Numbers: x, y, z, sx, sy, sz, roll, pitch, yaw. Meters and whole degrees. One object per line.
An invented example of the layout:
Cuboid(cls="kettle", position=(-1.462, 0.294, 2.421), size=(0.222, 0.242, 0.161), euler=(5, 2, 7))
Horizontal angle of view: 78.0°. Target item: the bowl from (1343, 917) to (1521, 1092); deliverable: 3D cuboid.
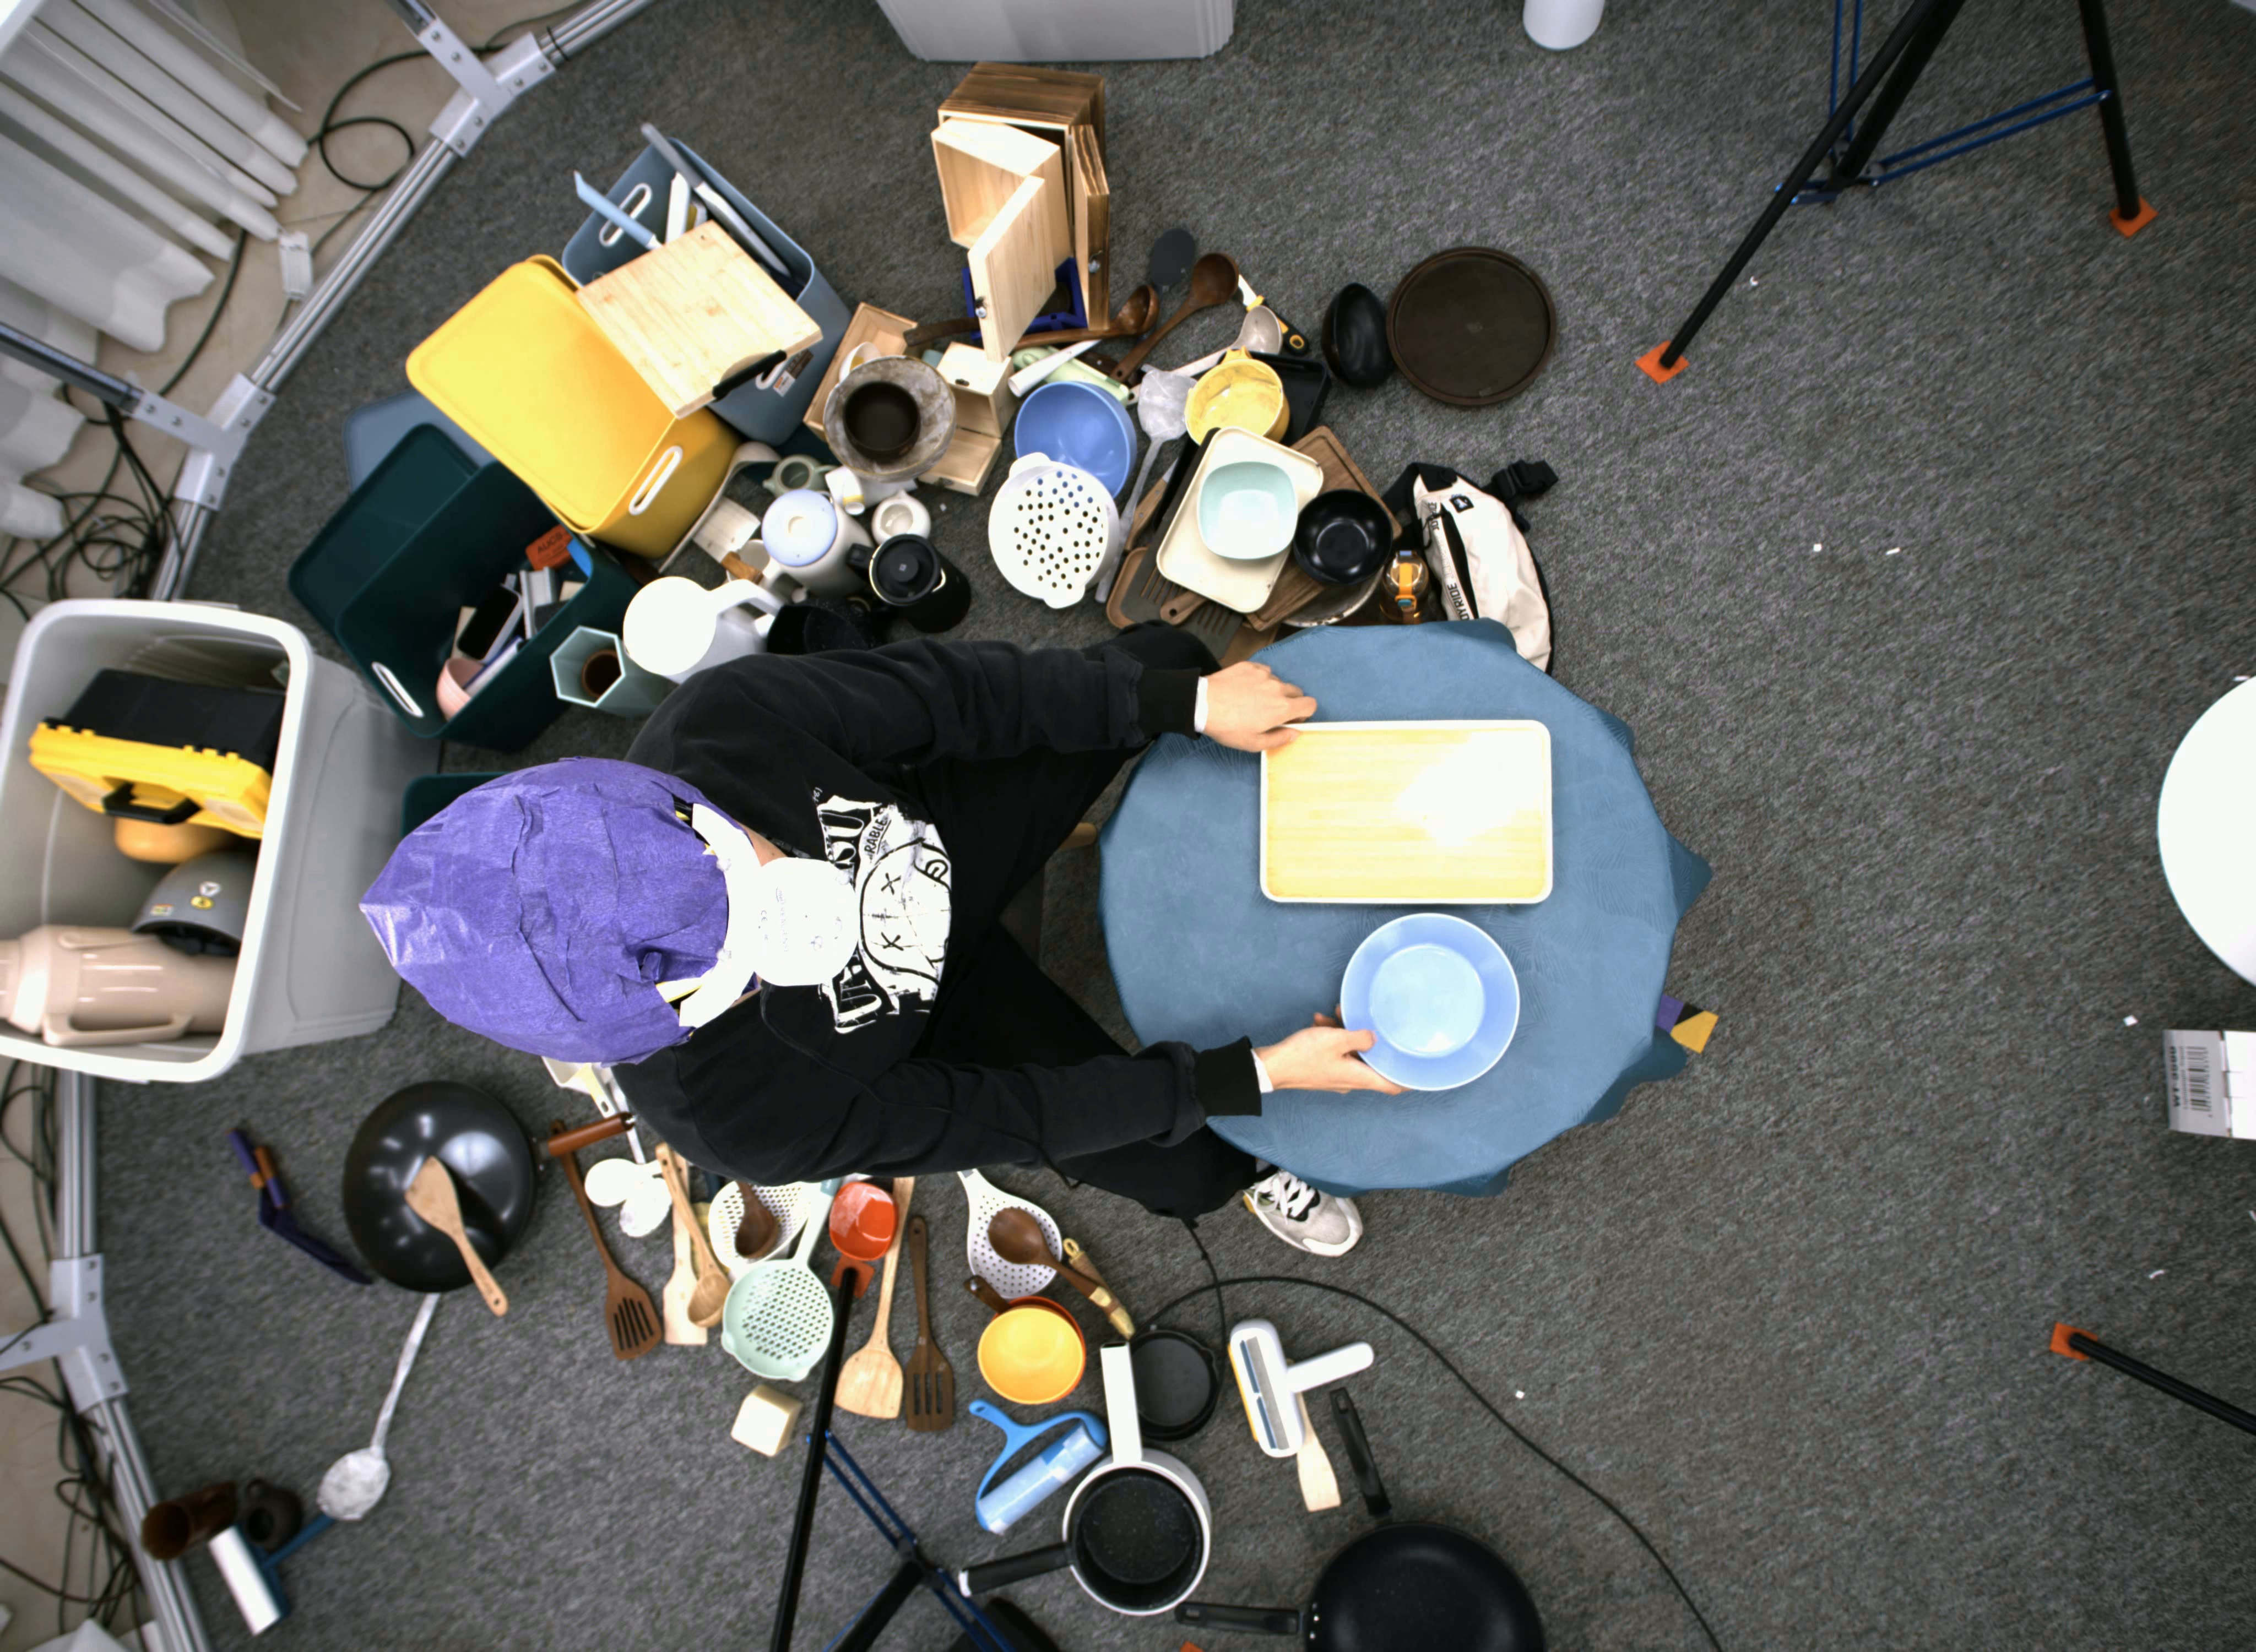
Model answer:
Cuboid(cls="bowl", position=(0.310, 0.181, 1.414), size=(0.177, 0.070, 0.175), euler=(-1, 84, 10))

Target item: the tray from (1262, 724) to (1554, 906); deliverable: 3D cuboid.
Cuboid(cls="tray", position=(0.292, -0.013, 1.453), size=(0.301, 0.027, 0.190), euler=(0, 86, 10))
